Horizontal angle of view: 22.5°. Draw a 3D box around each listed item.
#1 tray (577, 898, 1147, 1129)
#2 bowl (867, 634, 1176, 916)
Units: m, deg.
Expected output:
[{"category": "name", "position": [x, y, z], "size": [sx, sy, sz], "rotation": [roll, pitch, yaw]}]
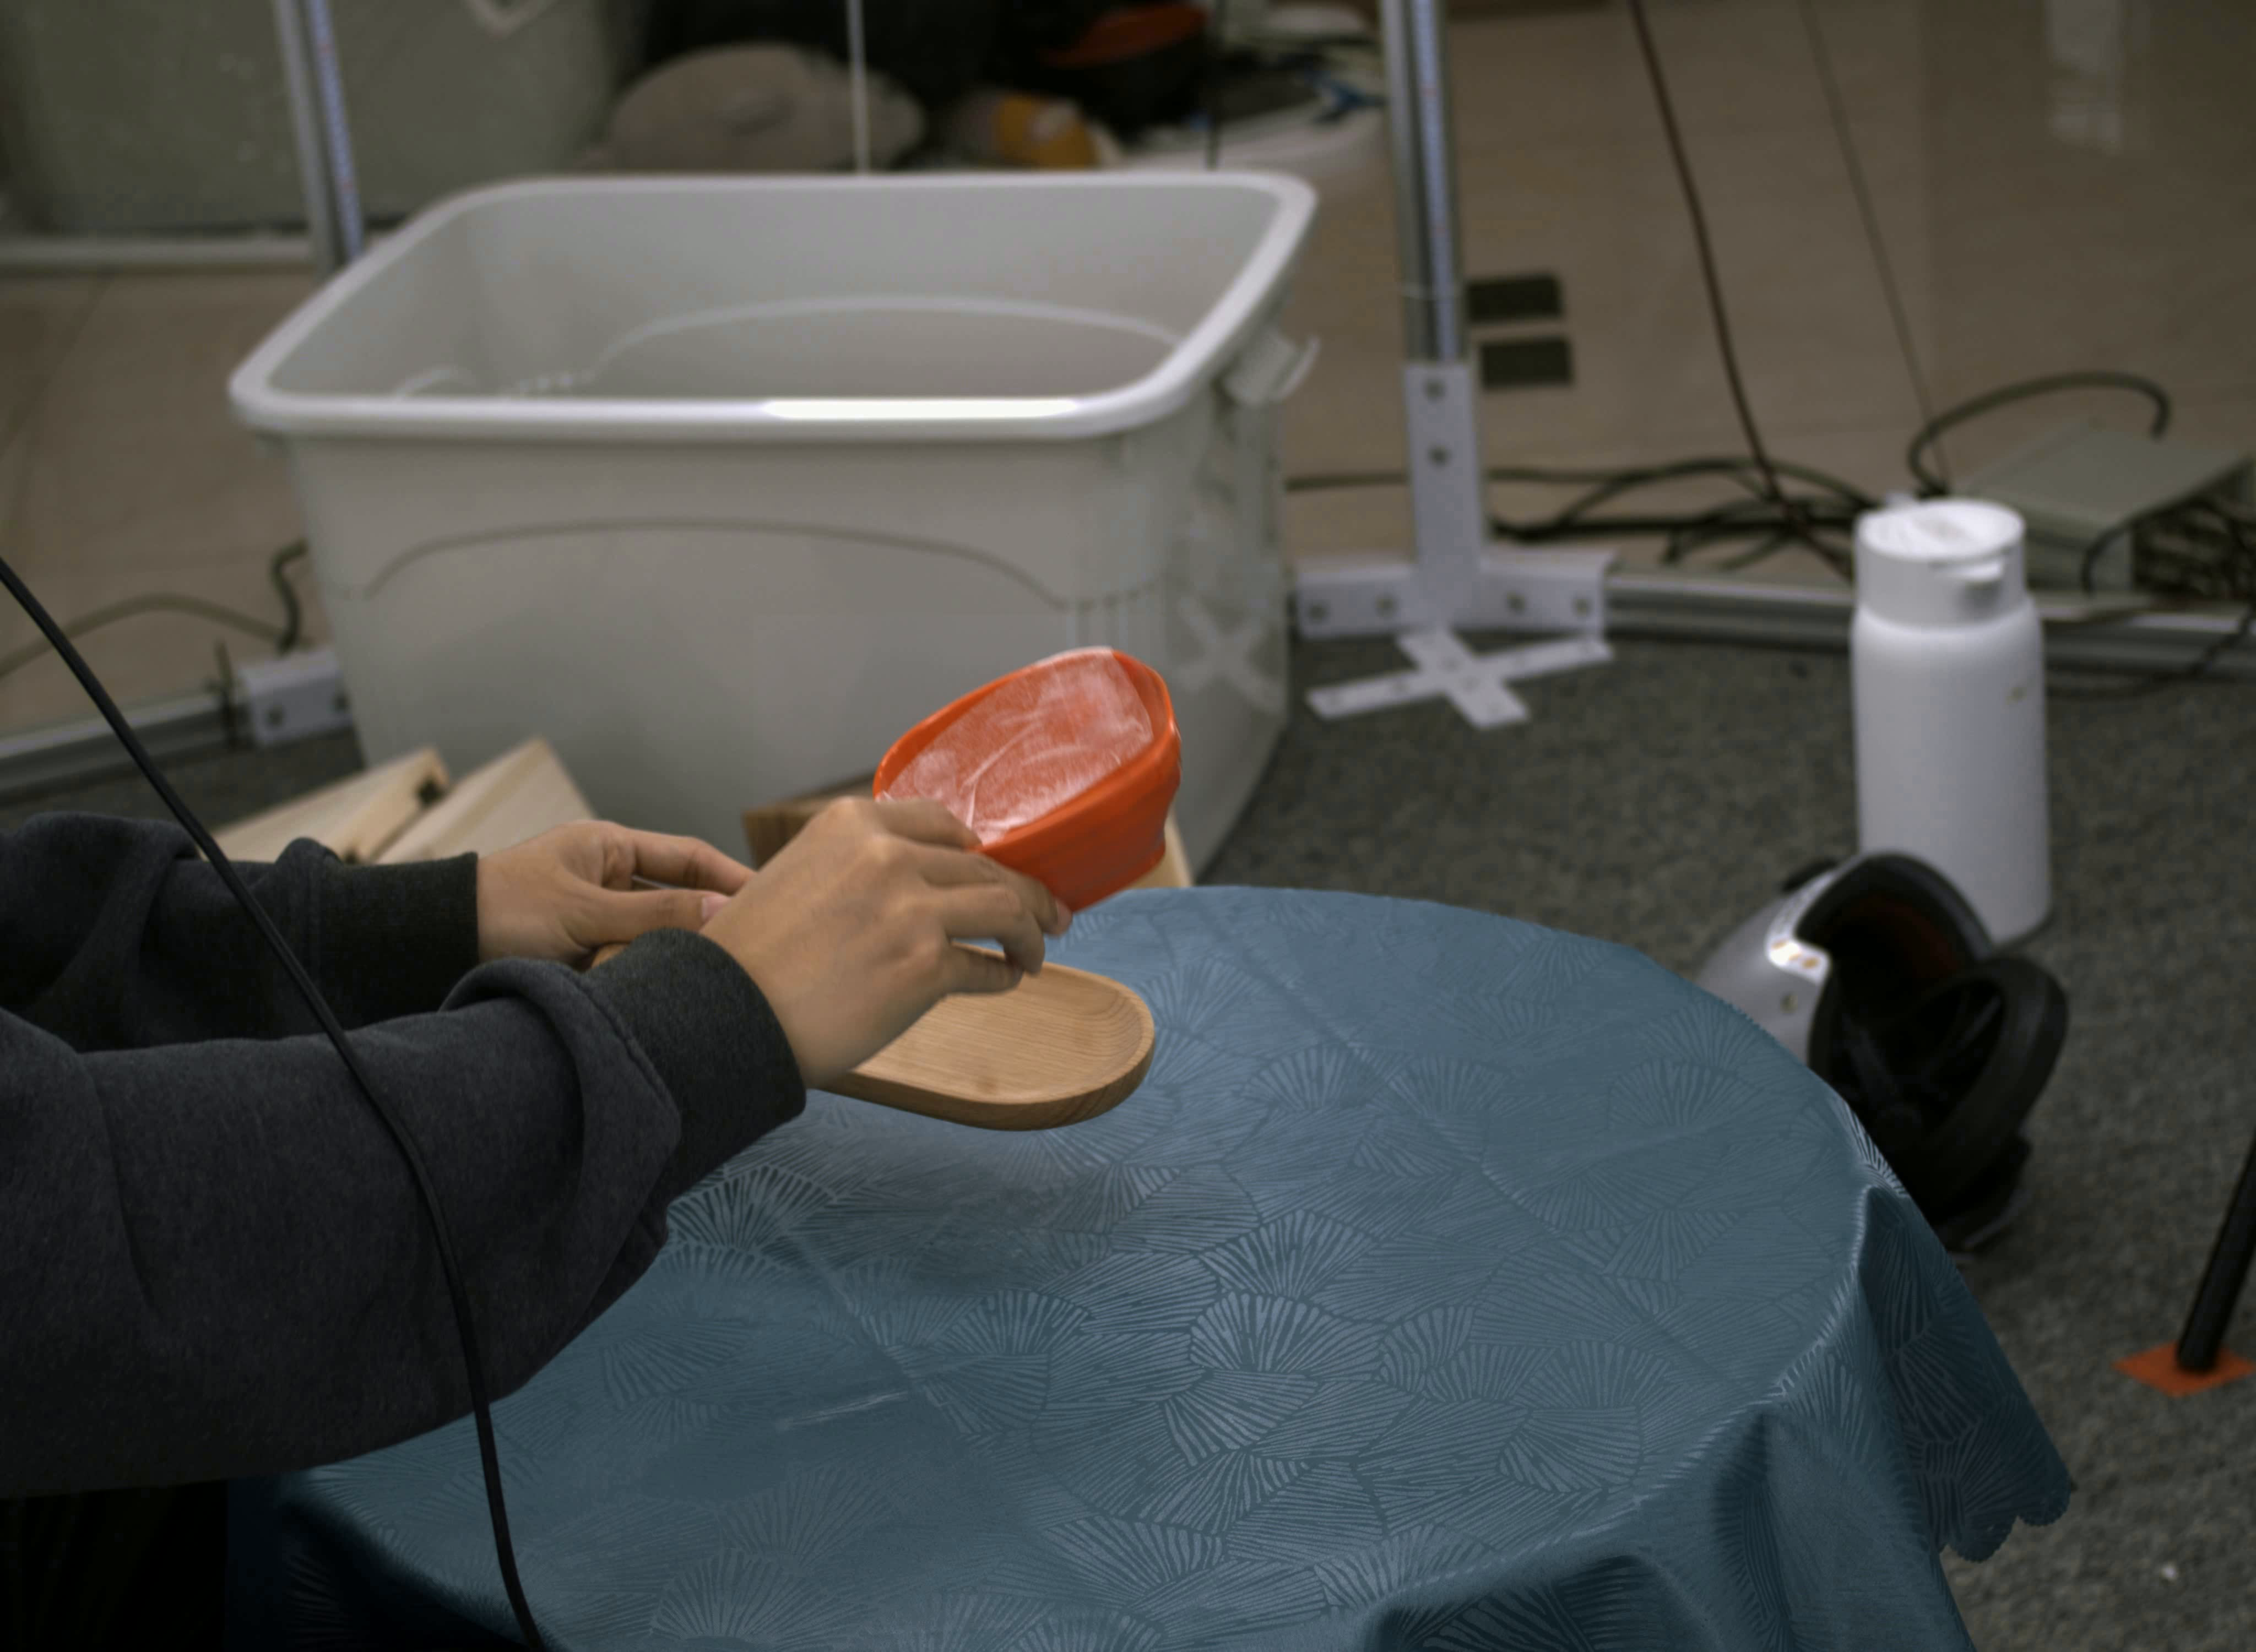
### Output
[{"category": "tray", "position": [-0.101, 0.071, 2.143], "size": [0.230, 0.020, 0.100], "rotation": [11, 31, 24]}, {"category": "bowl", "position": [-0.030, -0.012, 1.970], "size": [0.119, 0.052, 0.117], "rotation": [-18, 31, 12]}]
